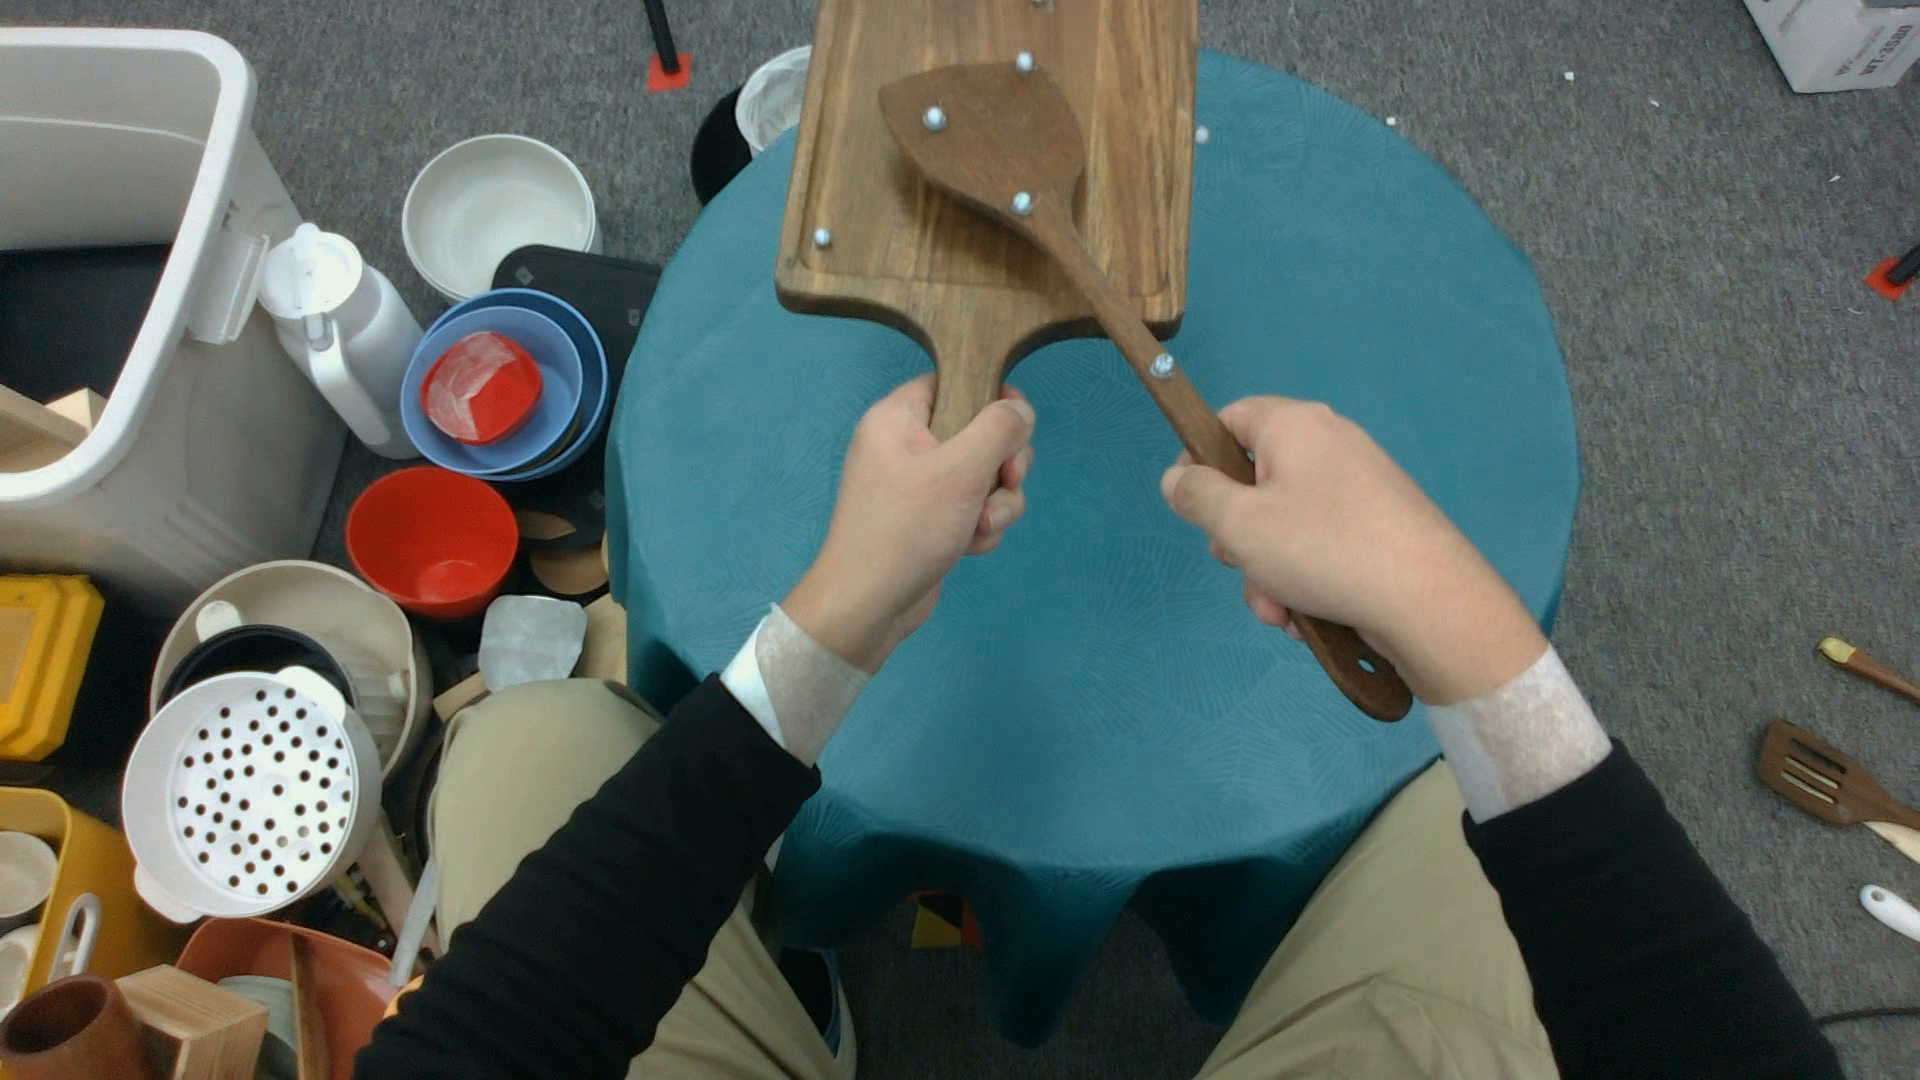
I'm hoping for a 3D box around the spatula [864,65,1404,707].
[{"bbox_3d":[0.072,-0.087,0.593,0.096,0.015,0.387,-17,57,-22],"label":"spatula"}]

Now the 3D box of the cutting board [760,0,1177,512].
[{"bbox_3d":[0.007,-0.175,0.684,0.201,0.023,0.353,4,64,2],"label":"cutting board"}]
